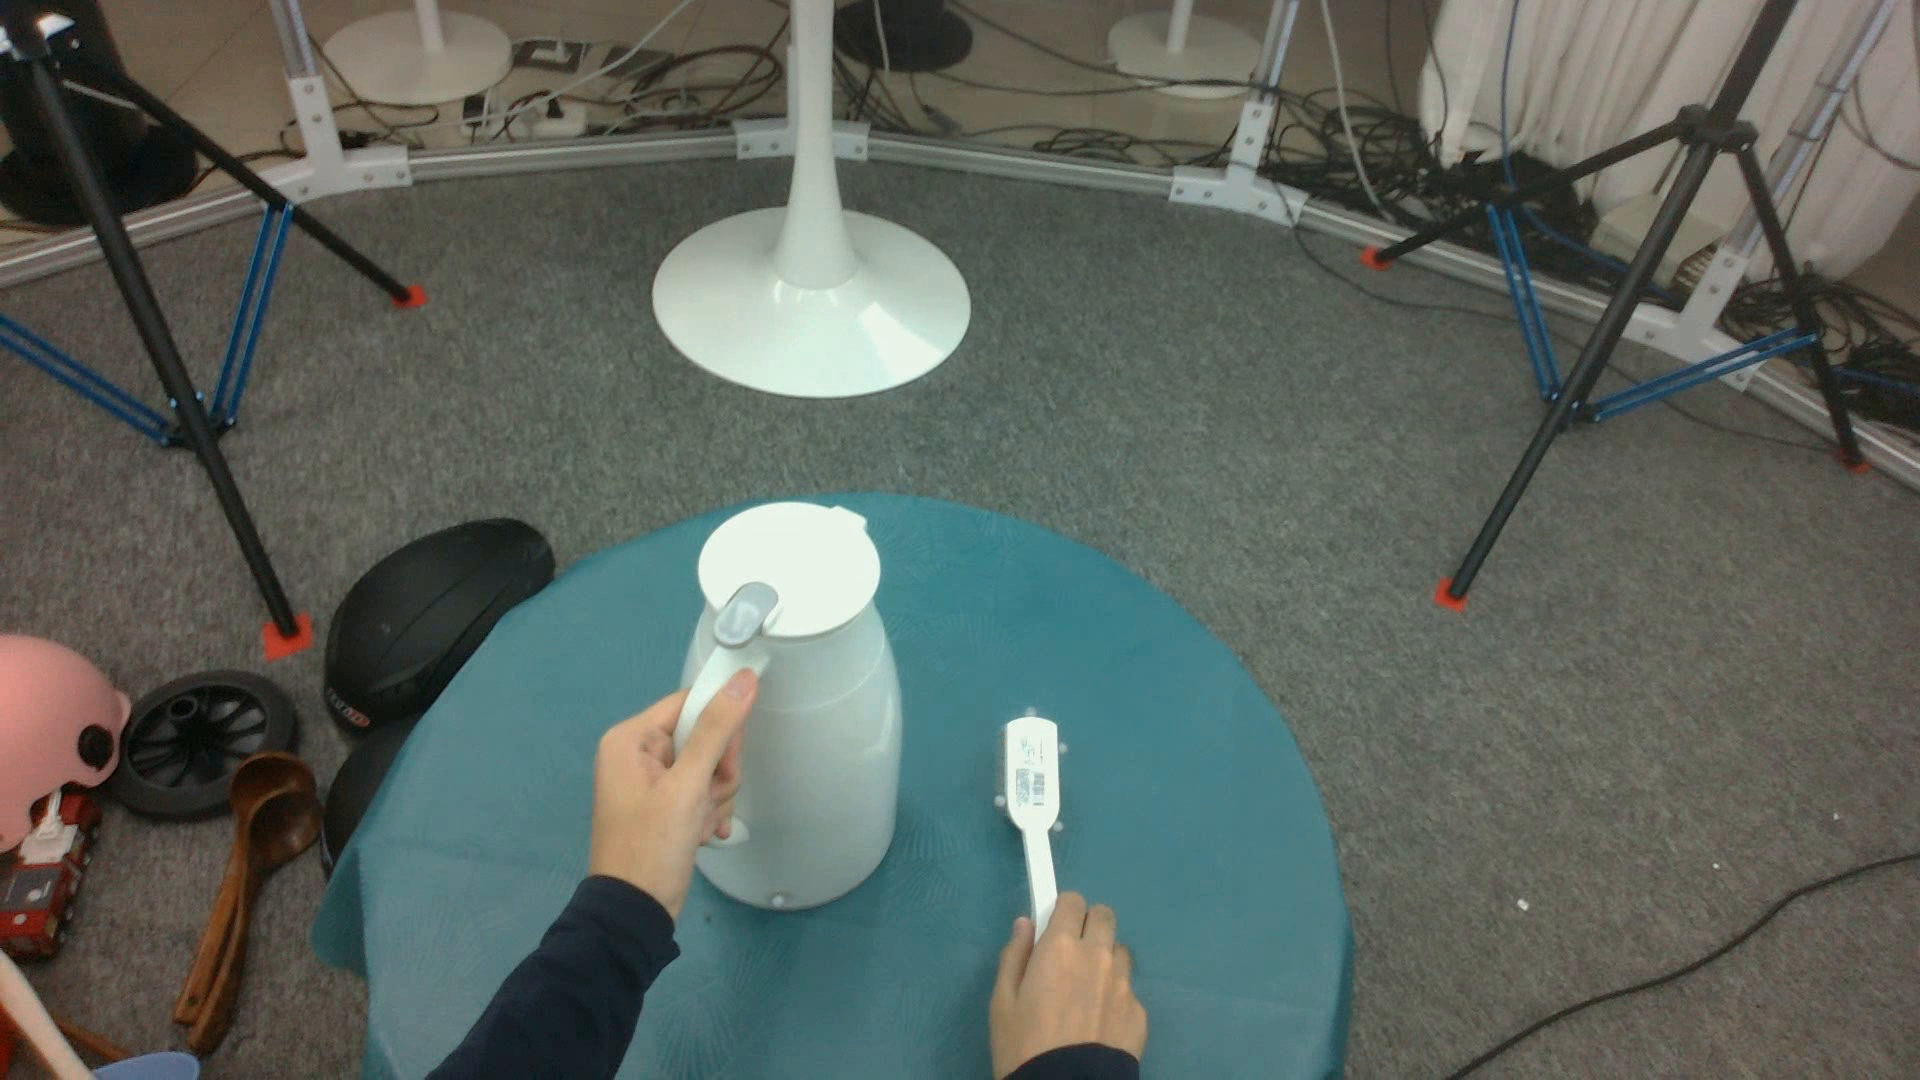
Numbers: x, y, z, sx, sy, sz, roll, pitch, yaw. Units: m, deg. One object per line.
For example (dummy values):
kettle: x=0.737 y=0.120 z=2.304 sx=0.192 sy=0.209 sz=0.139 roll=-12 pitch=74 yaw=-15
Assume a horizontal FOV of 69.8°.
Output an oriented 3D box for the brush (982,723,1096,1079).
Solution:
brush: x=0.046 y=0.219 z=0.832 sx=0.034 sy=0.050 sz=0.244 roll=4 pitch=52 yaw=-16

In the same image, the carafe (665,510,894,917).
carafe: x=-0.108 y=0.109 z=0.777 sx=0.132 sy=0.247 sz=0.168 roll=22 pitch=48 yaw=13
